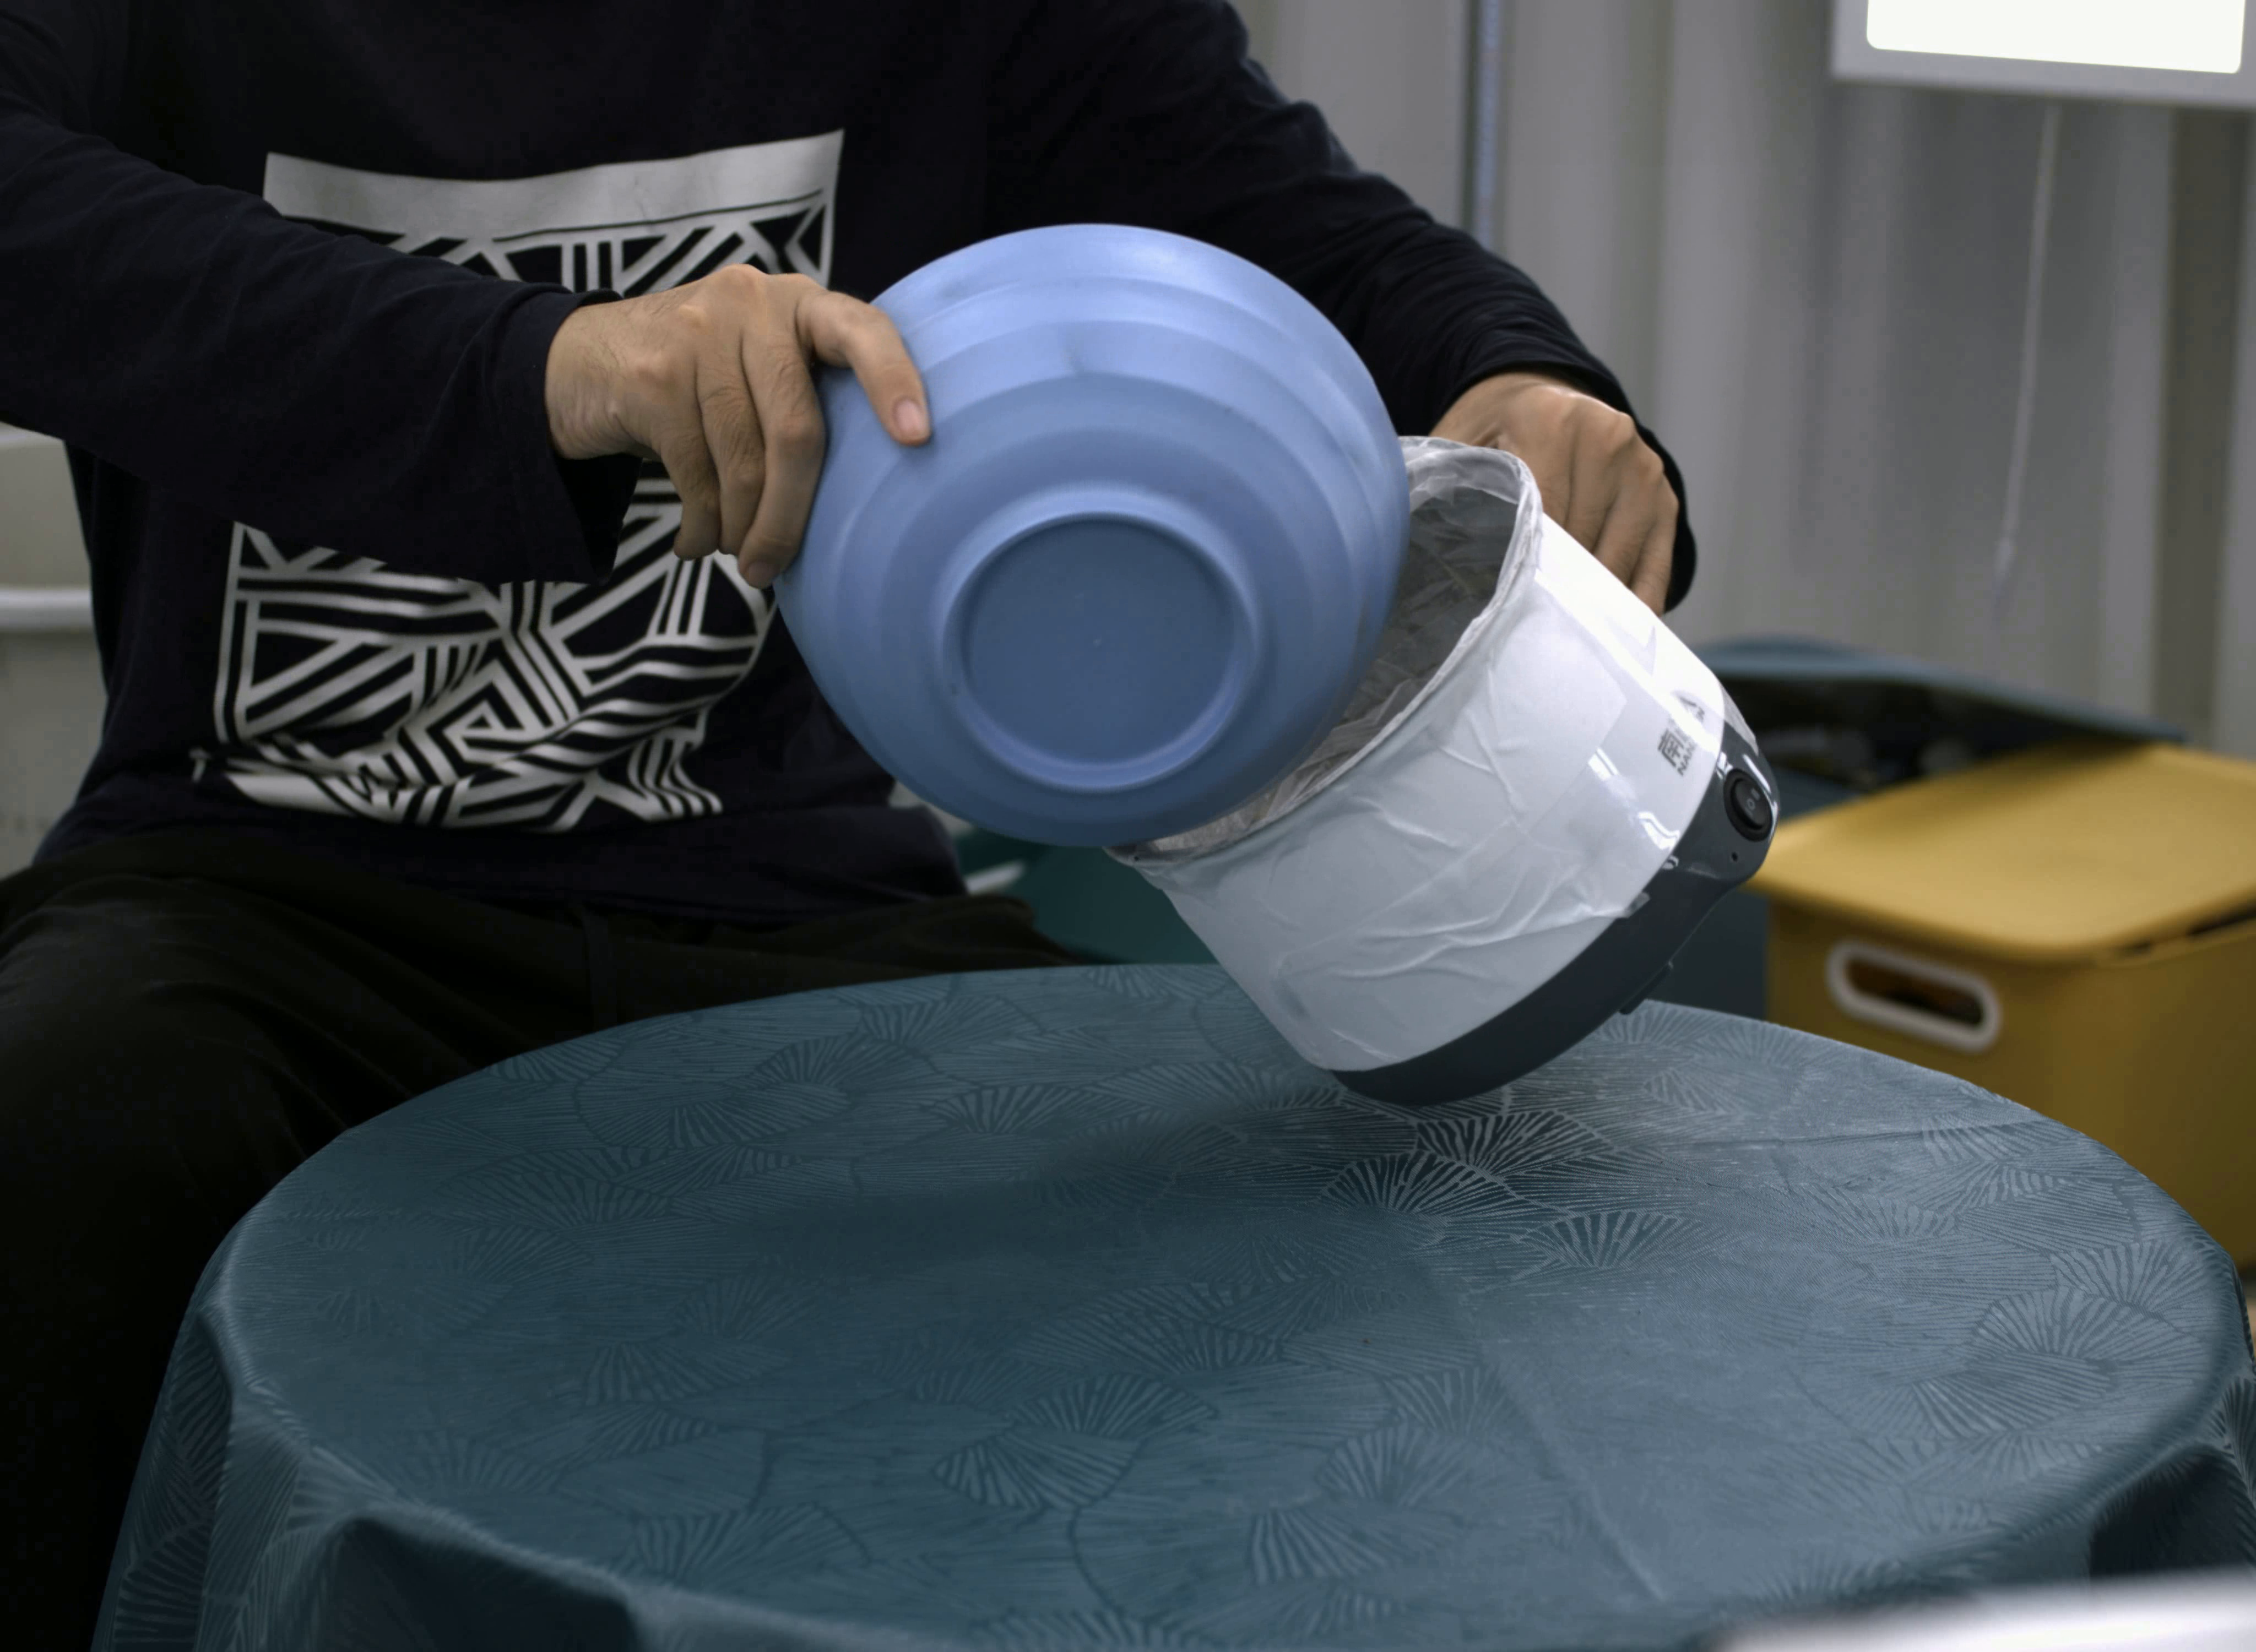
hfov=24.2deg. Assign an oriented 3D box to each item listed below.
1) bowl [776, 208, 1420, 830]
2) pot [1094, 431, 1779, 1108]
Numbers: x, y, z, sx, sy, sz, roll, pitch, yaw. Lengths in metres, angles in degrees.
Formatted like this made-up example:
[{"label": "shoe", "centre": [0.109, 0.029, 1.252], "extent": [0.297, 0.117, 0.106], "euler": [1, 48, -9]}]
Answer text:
[{"label": "bowl", "centre": [-0.008, -0.074, 1.563], "extent": [0.196, 0.199, 0.094], "euler": [0, 31, -2]}, {"label": "pot", "centre": [0.104, -0.029, 1.665], "extent": [0.177, 0.138, 0.232], "euler": [-23, 31, 36]}]
